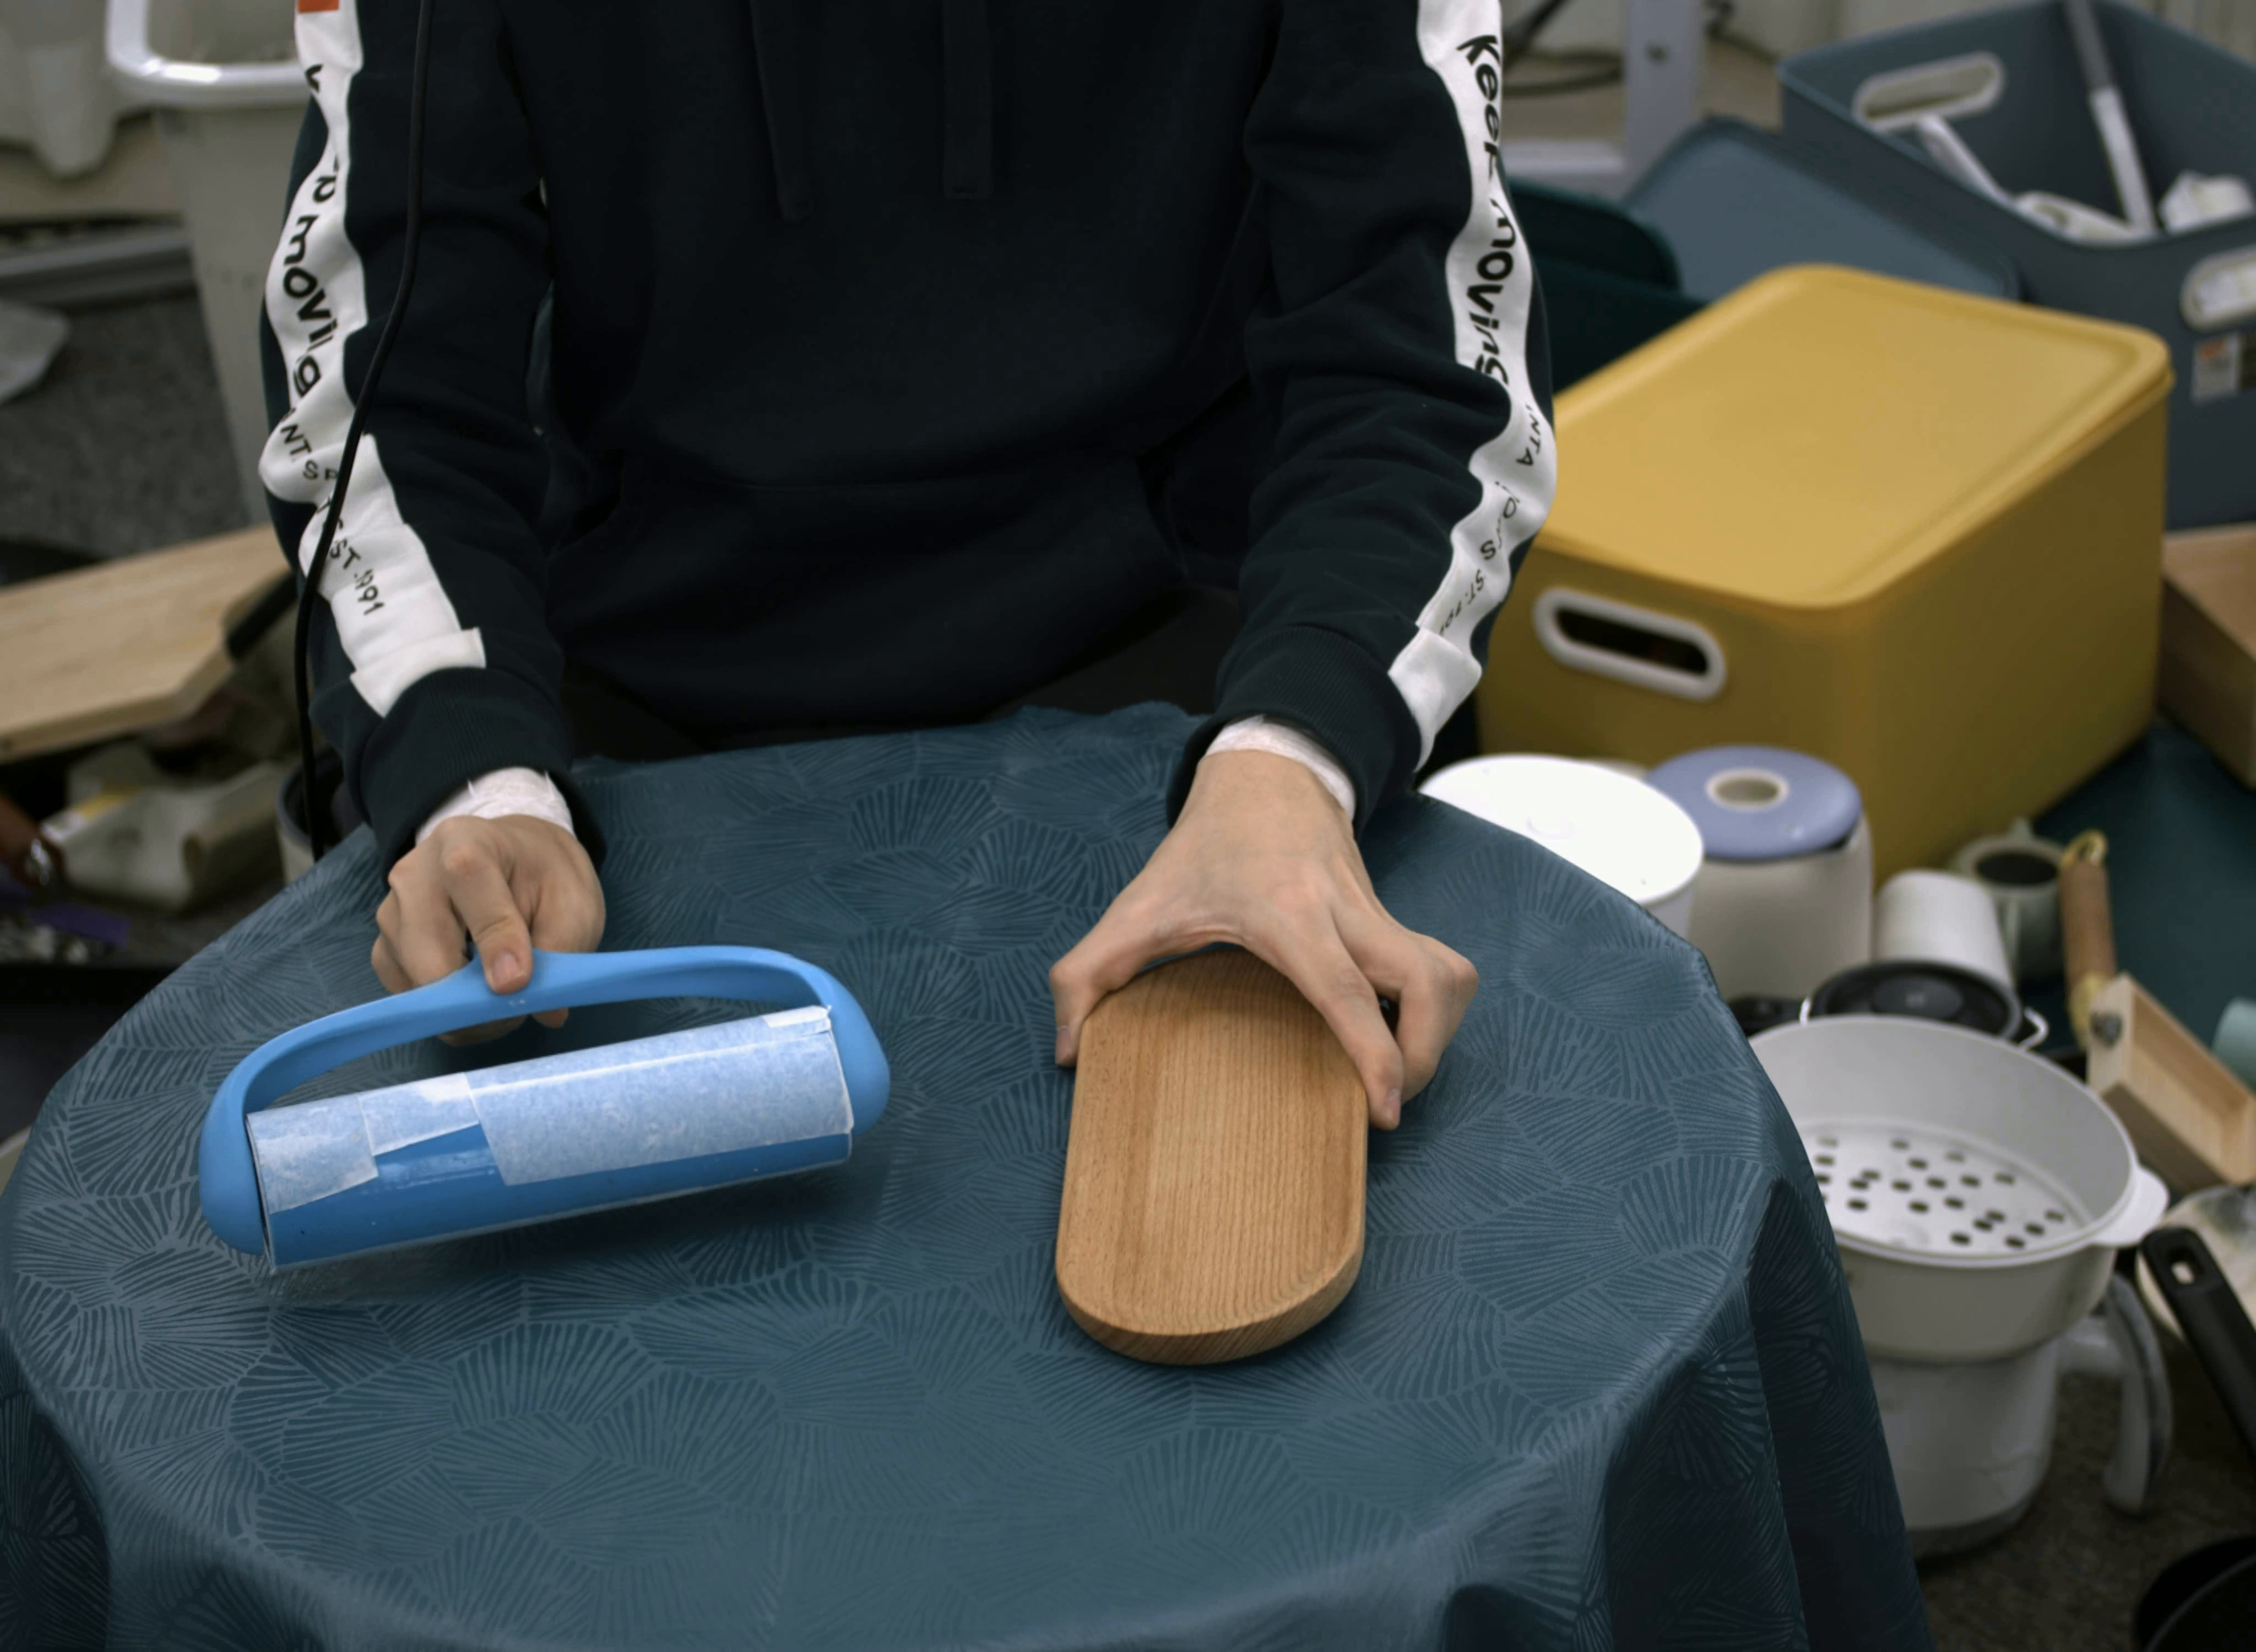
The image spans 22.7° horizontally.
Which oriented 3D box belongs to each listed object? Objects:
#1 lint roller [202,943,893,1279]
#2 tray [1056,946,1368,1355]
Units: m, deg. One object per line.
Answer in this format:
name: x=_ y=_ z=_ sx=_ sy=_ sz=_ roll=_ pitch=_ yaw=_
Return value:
lint roller: x=-0.207 y=0.075 z=1.883 sx=0.229 sy=0.067 sz=0.182 roll=-13 pitch=30 yaw=-14
tray: x=0.029 y=0.105 z=1.859 sx=0.101 sy=0.020 sz=0.235 roll=-6 pitch=27 yaw=5
